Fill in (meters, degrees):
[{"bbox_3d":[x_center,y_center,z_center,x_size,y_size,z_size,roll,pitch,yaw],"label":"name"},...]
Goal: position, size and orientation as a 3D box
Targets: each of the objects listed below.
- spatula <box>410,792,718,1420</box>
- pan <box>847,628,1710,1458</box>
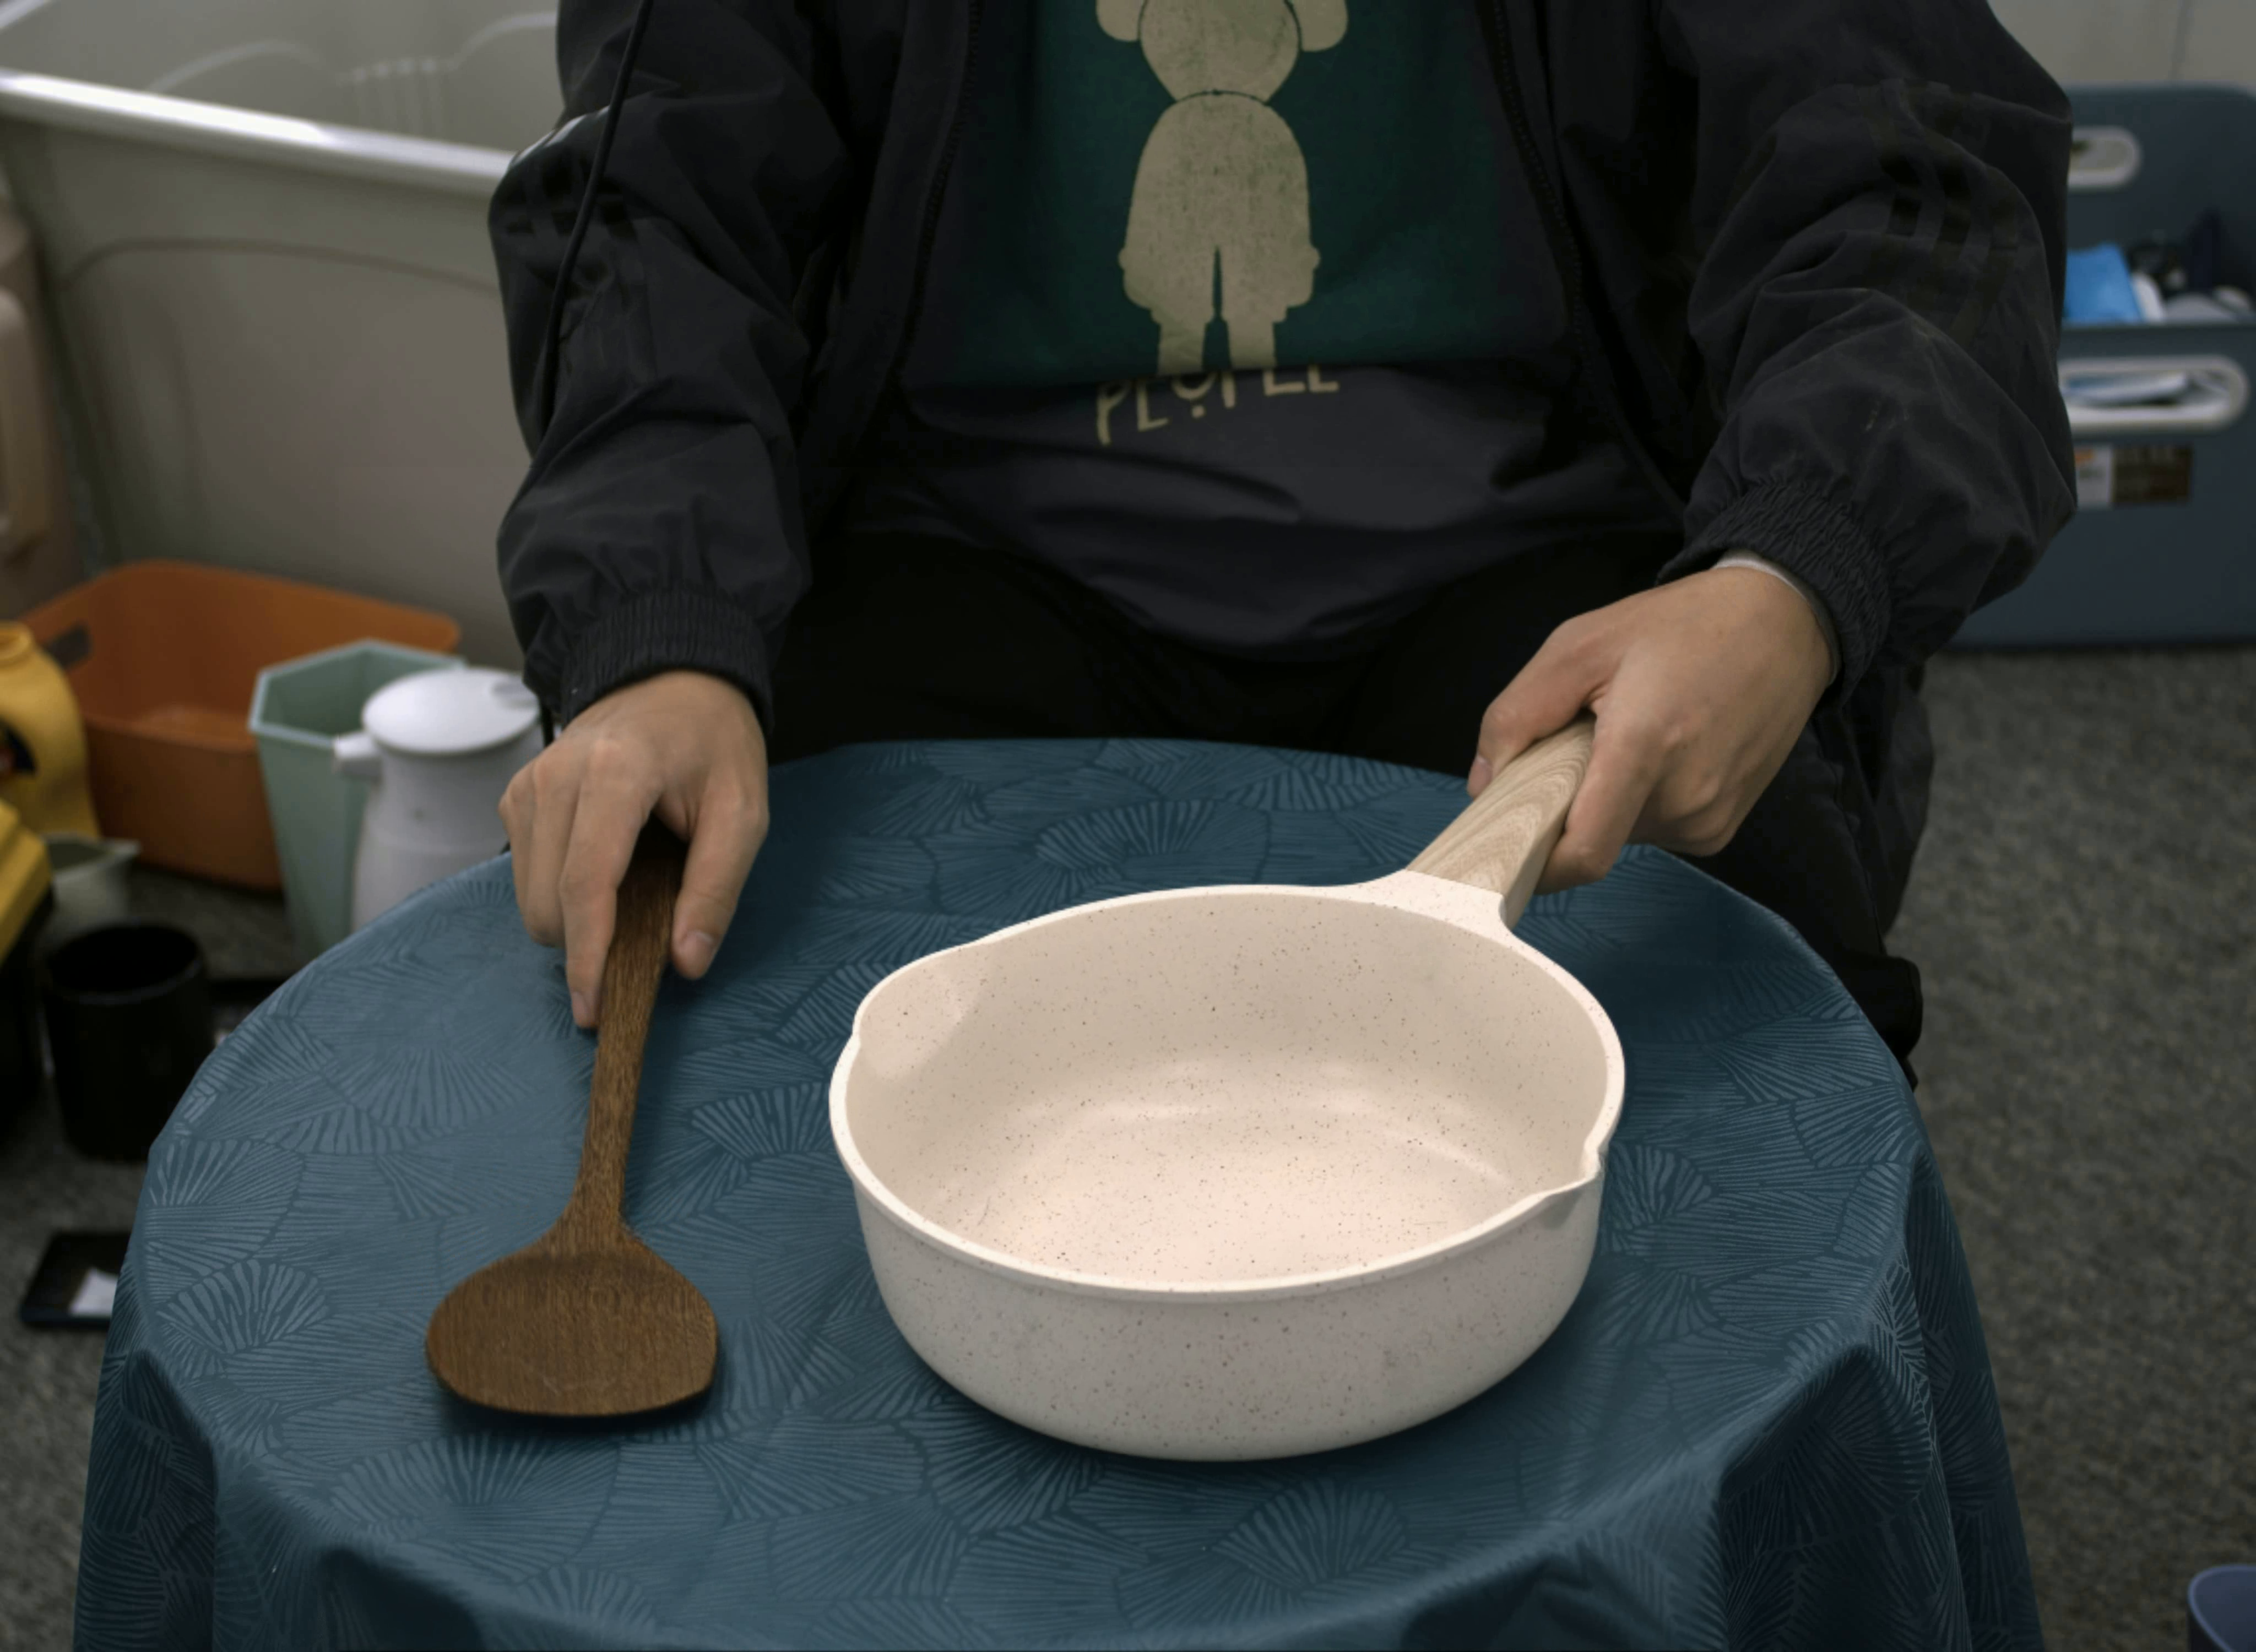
[{"bbox_3d":[-0.174,0.086,1.904,0.096,0.015,0.392,5,30,-2],"label":"spatula"},{"bbox_3d":[0.087,0.067,1.845,0.262,0.101,0.442,12,31,30],"label":"pan"}]
